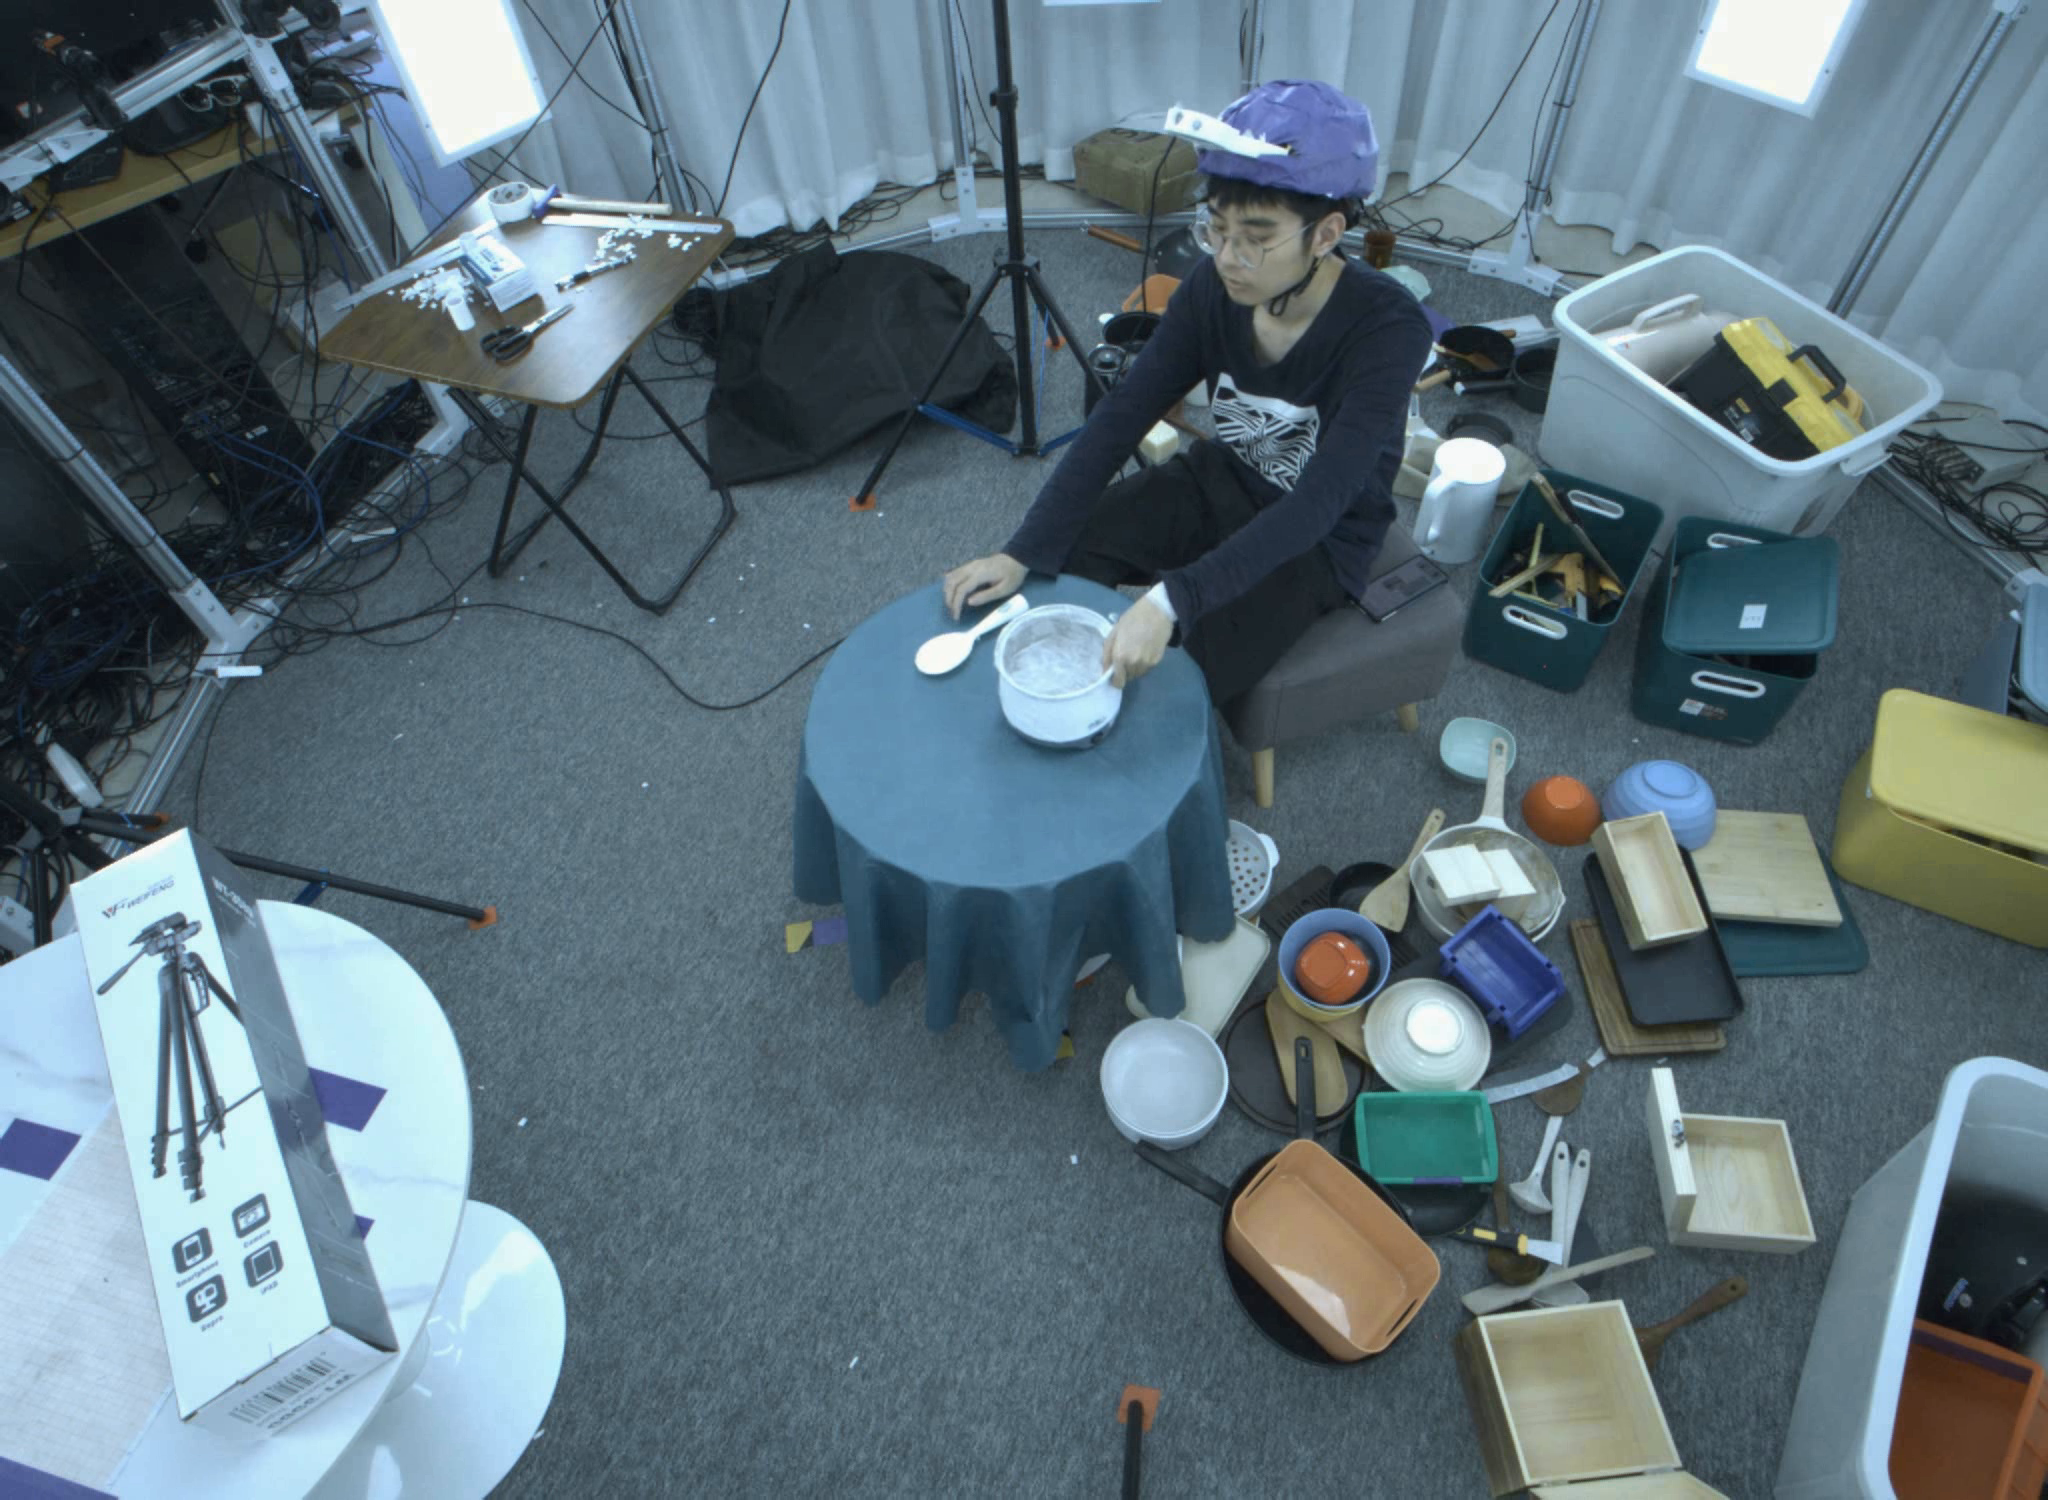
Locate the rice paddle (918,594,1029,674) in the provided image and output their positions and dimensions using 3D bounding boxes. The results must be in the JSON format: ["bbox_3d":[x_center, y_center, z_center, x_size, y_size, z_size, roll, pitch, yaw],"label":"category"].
[{"bbox_3d":[-0.079,-0.180,1.908,0.207,0.030,0.067,-35,59,-22],"label":"rice paddle"}]

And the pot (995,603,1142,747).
[{"bbox_3d":[0.073,-0.118,1.789,0.235,0.138,0.175,-34,62,-19],"label":"pot"}]
